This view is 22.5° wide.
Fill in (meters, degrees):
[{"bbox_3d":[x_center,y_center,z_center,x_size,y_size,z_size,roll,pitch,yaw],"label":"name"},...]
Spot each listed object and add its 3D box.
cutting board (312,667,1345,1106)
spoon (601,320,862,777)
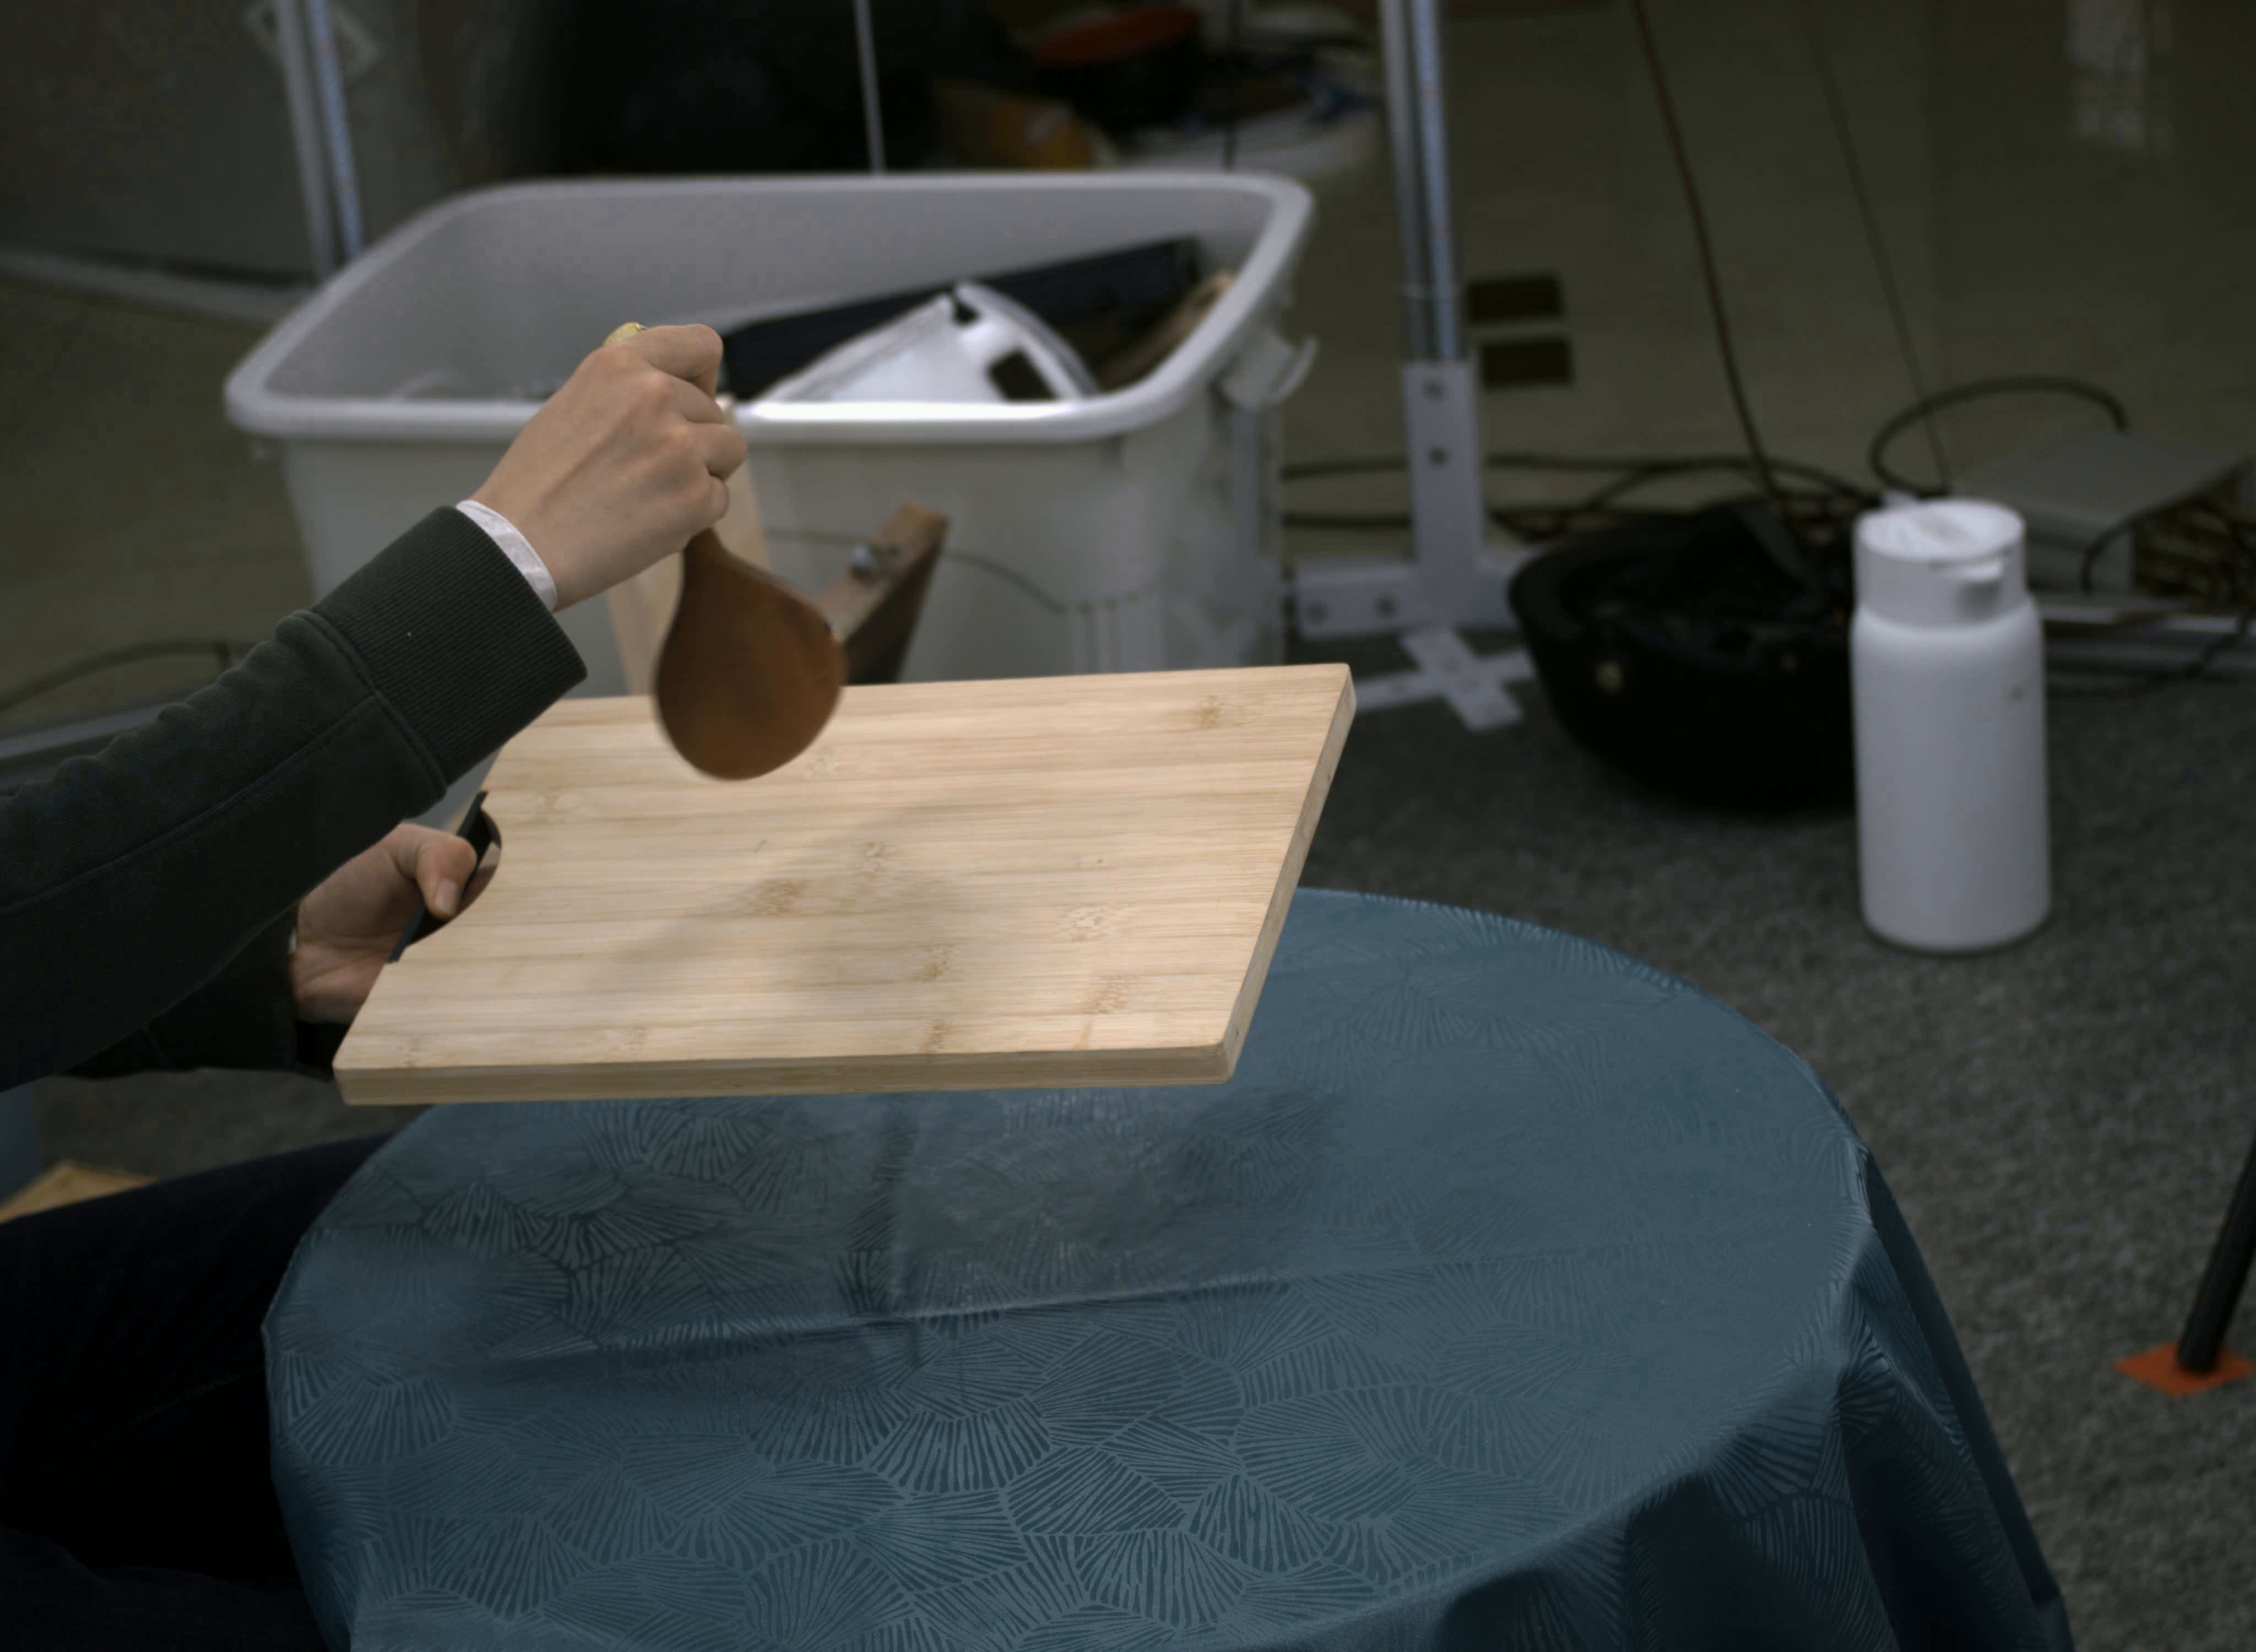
[{"bbox_3d":[-0.107,0.022,2.114,0.348,0.024,0.246,-3,34,17],"label":"cutting board"},{"bbox_3d":[-0.147,-0.095,2.016,0.075,0.220,0.017,-27,45,-8],"label":"spoon"}]
